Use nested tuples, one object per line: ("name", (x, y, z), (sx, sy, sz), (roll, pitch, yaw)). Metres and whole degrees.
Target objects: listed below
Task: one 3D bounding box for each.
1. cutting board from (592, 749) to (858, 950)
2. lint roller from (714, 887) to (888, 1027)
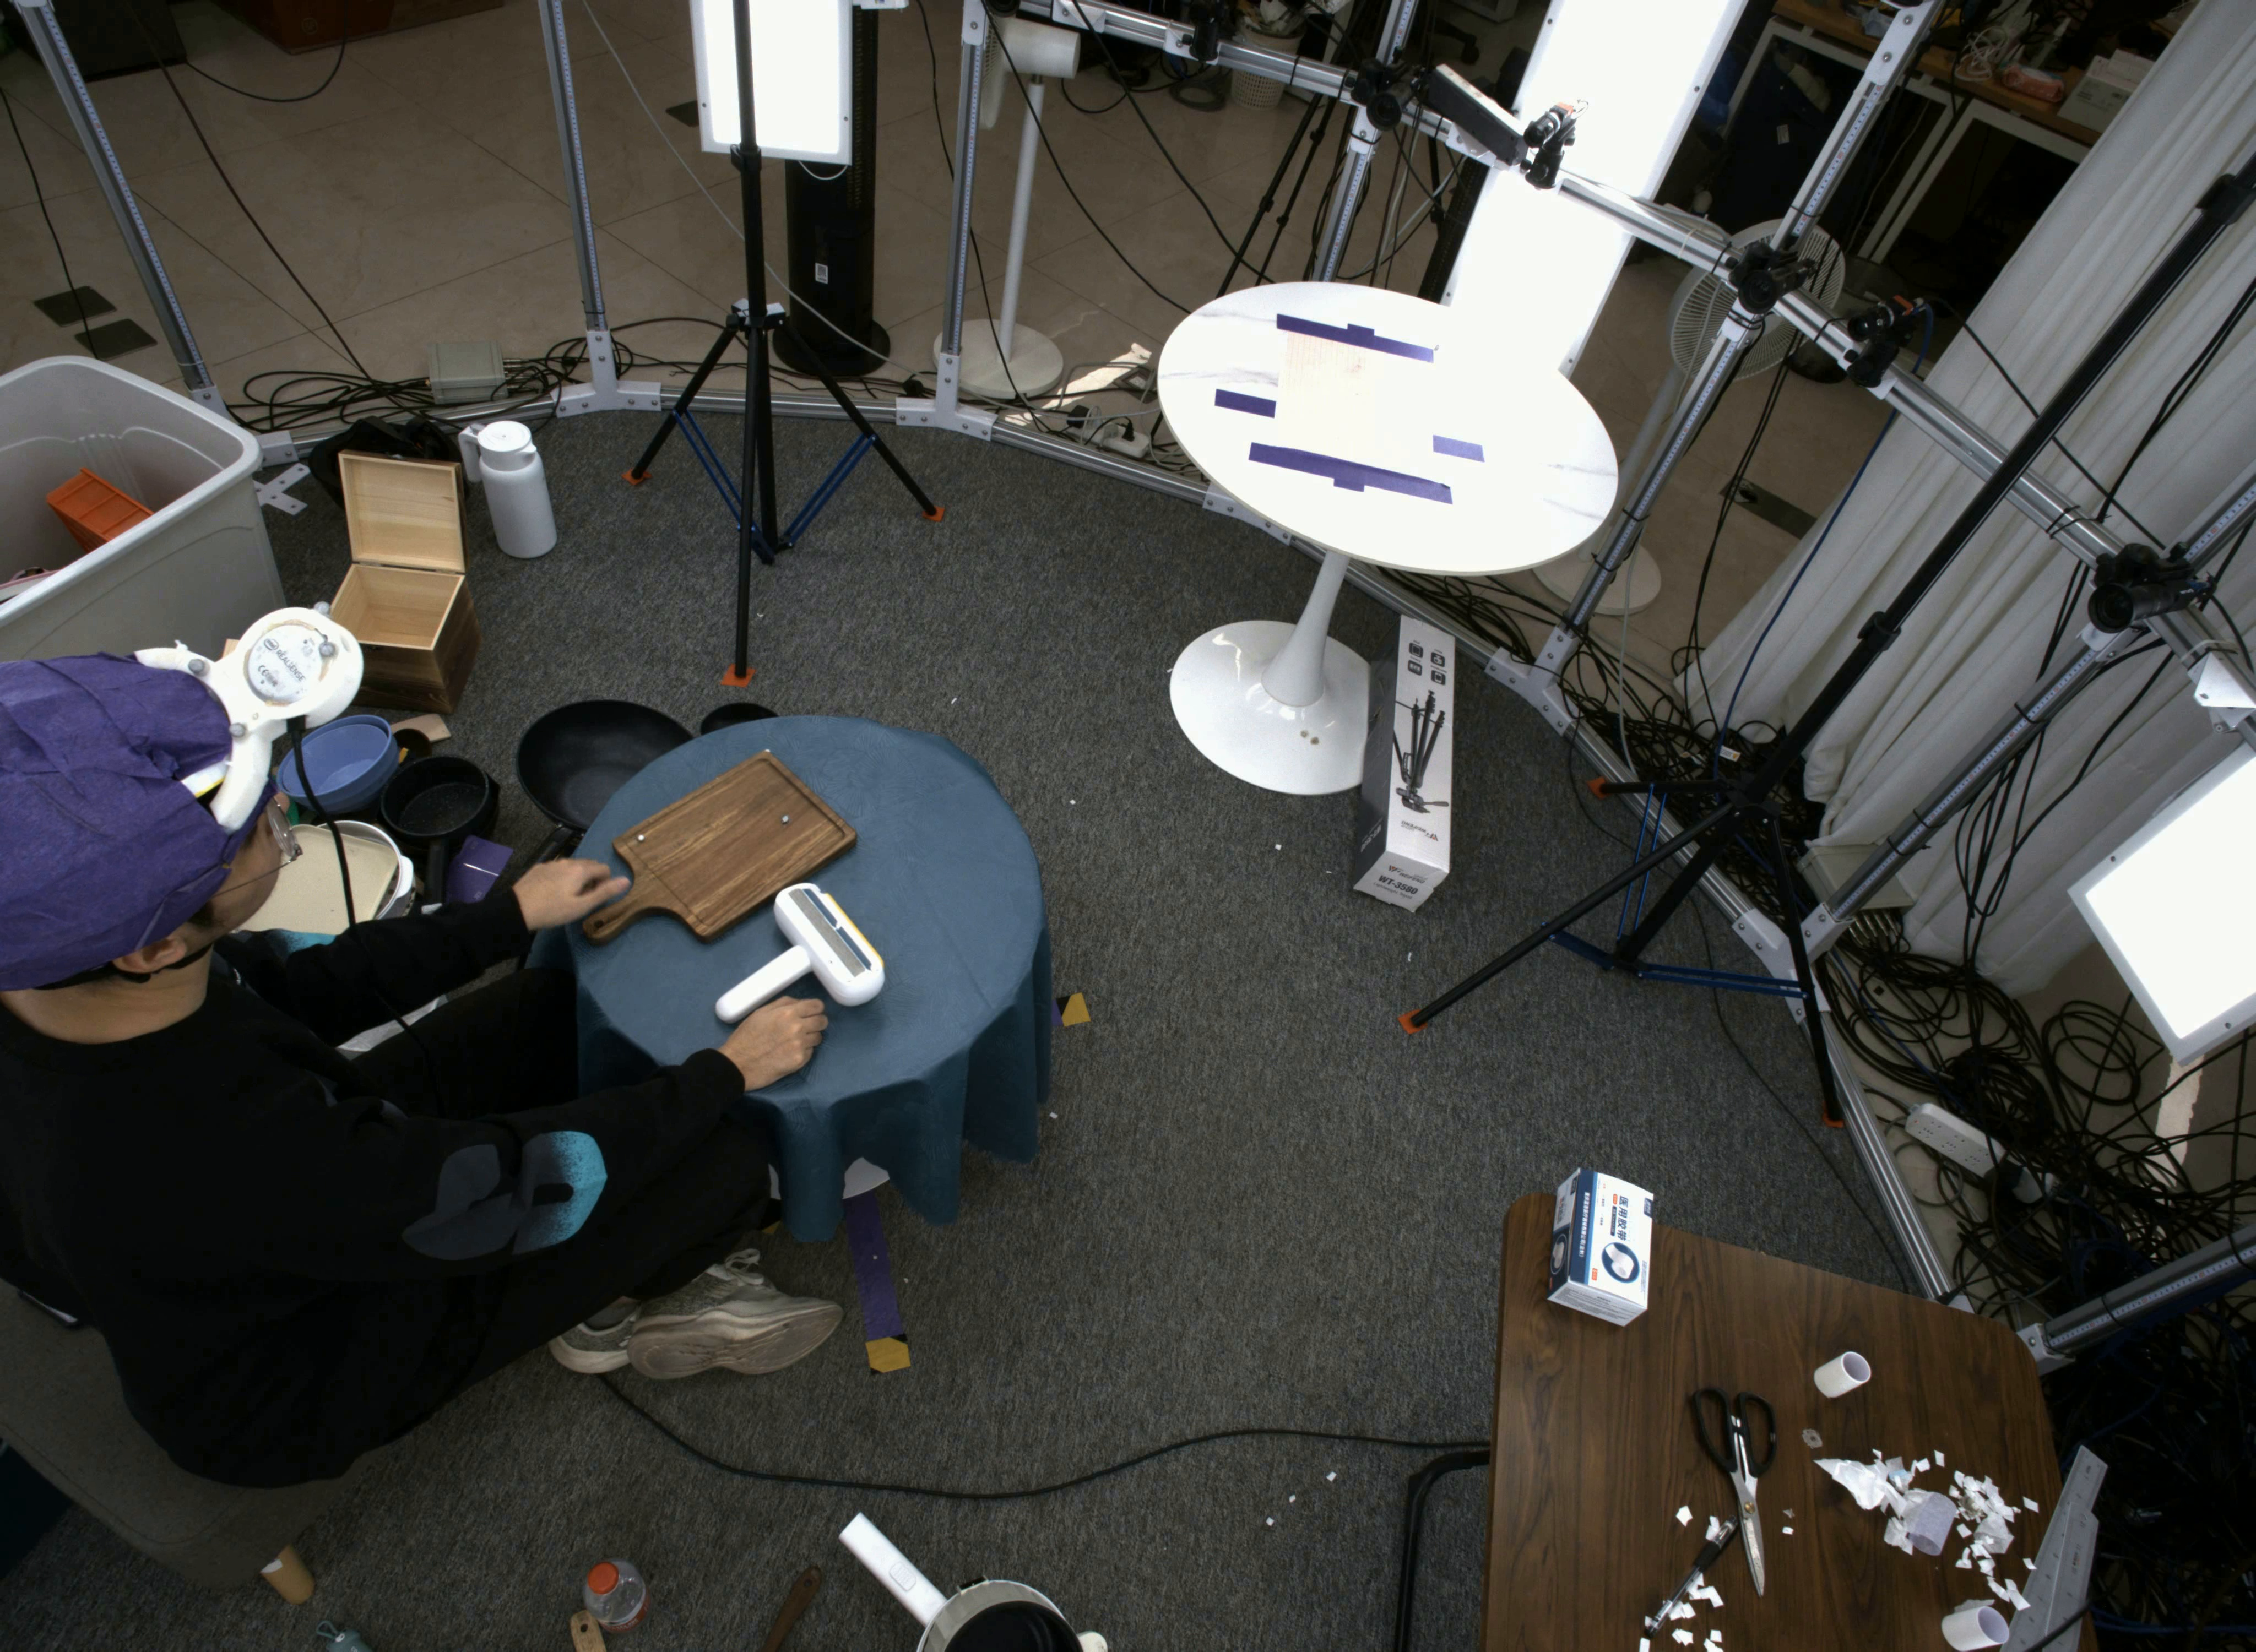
("cutting board", (-0.540, 0.045, 1.653), (0.197, 0.023, 0.352), (41, 55, 15))
("lint roller", (-0.410, 0.173, 1.562), (0.193, 0.076, 0.187), (-25, 58, -27))
